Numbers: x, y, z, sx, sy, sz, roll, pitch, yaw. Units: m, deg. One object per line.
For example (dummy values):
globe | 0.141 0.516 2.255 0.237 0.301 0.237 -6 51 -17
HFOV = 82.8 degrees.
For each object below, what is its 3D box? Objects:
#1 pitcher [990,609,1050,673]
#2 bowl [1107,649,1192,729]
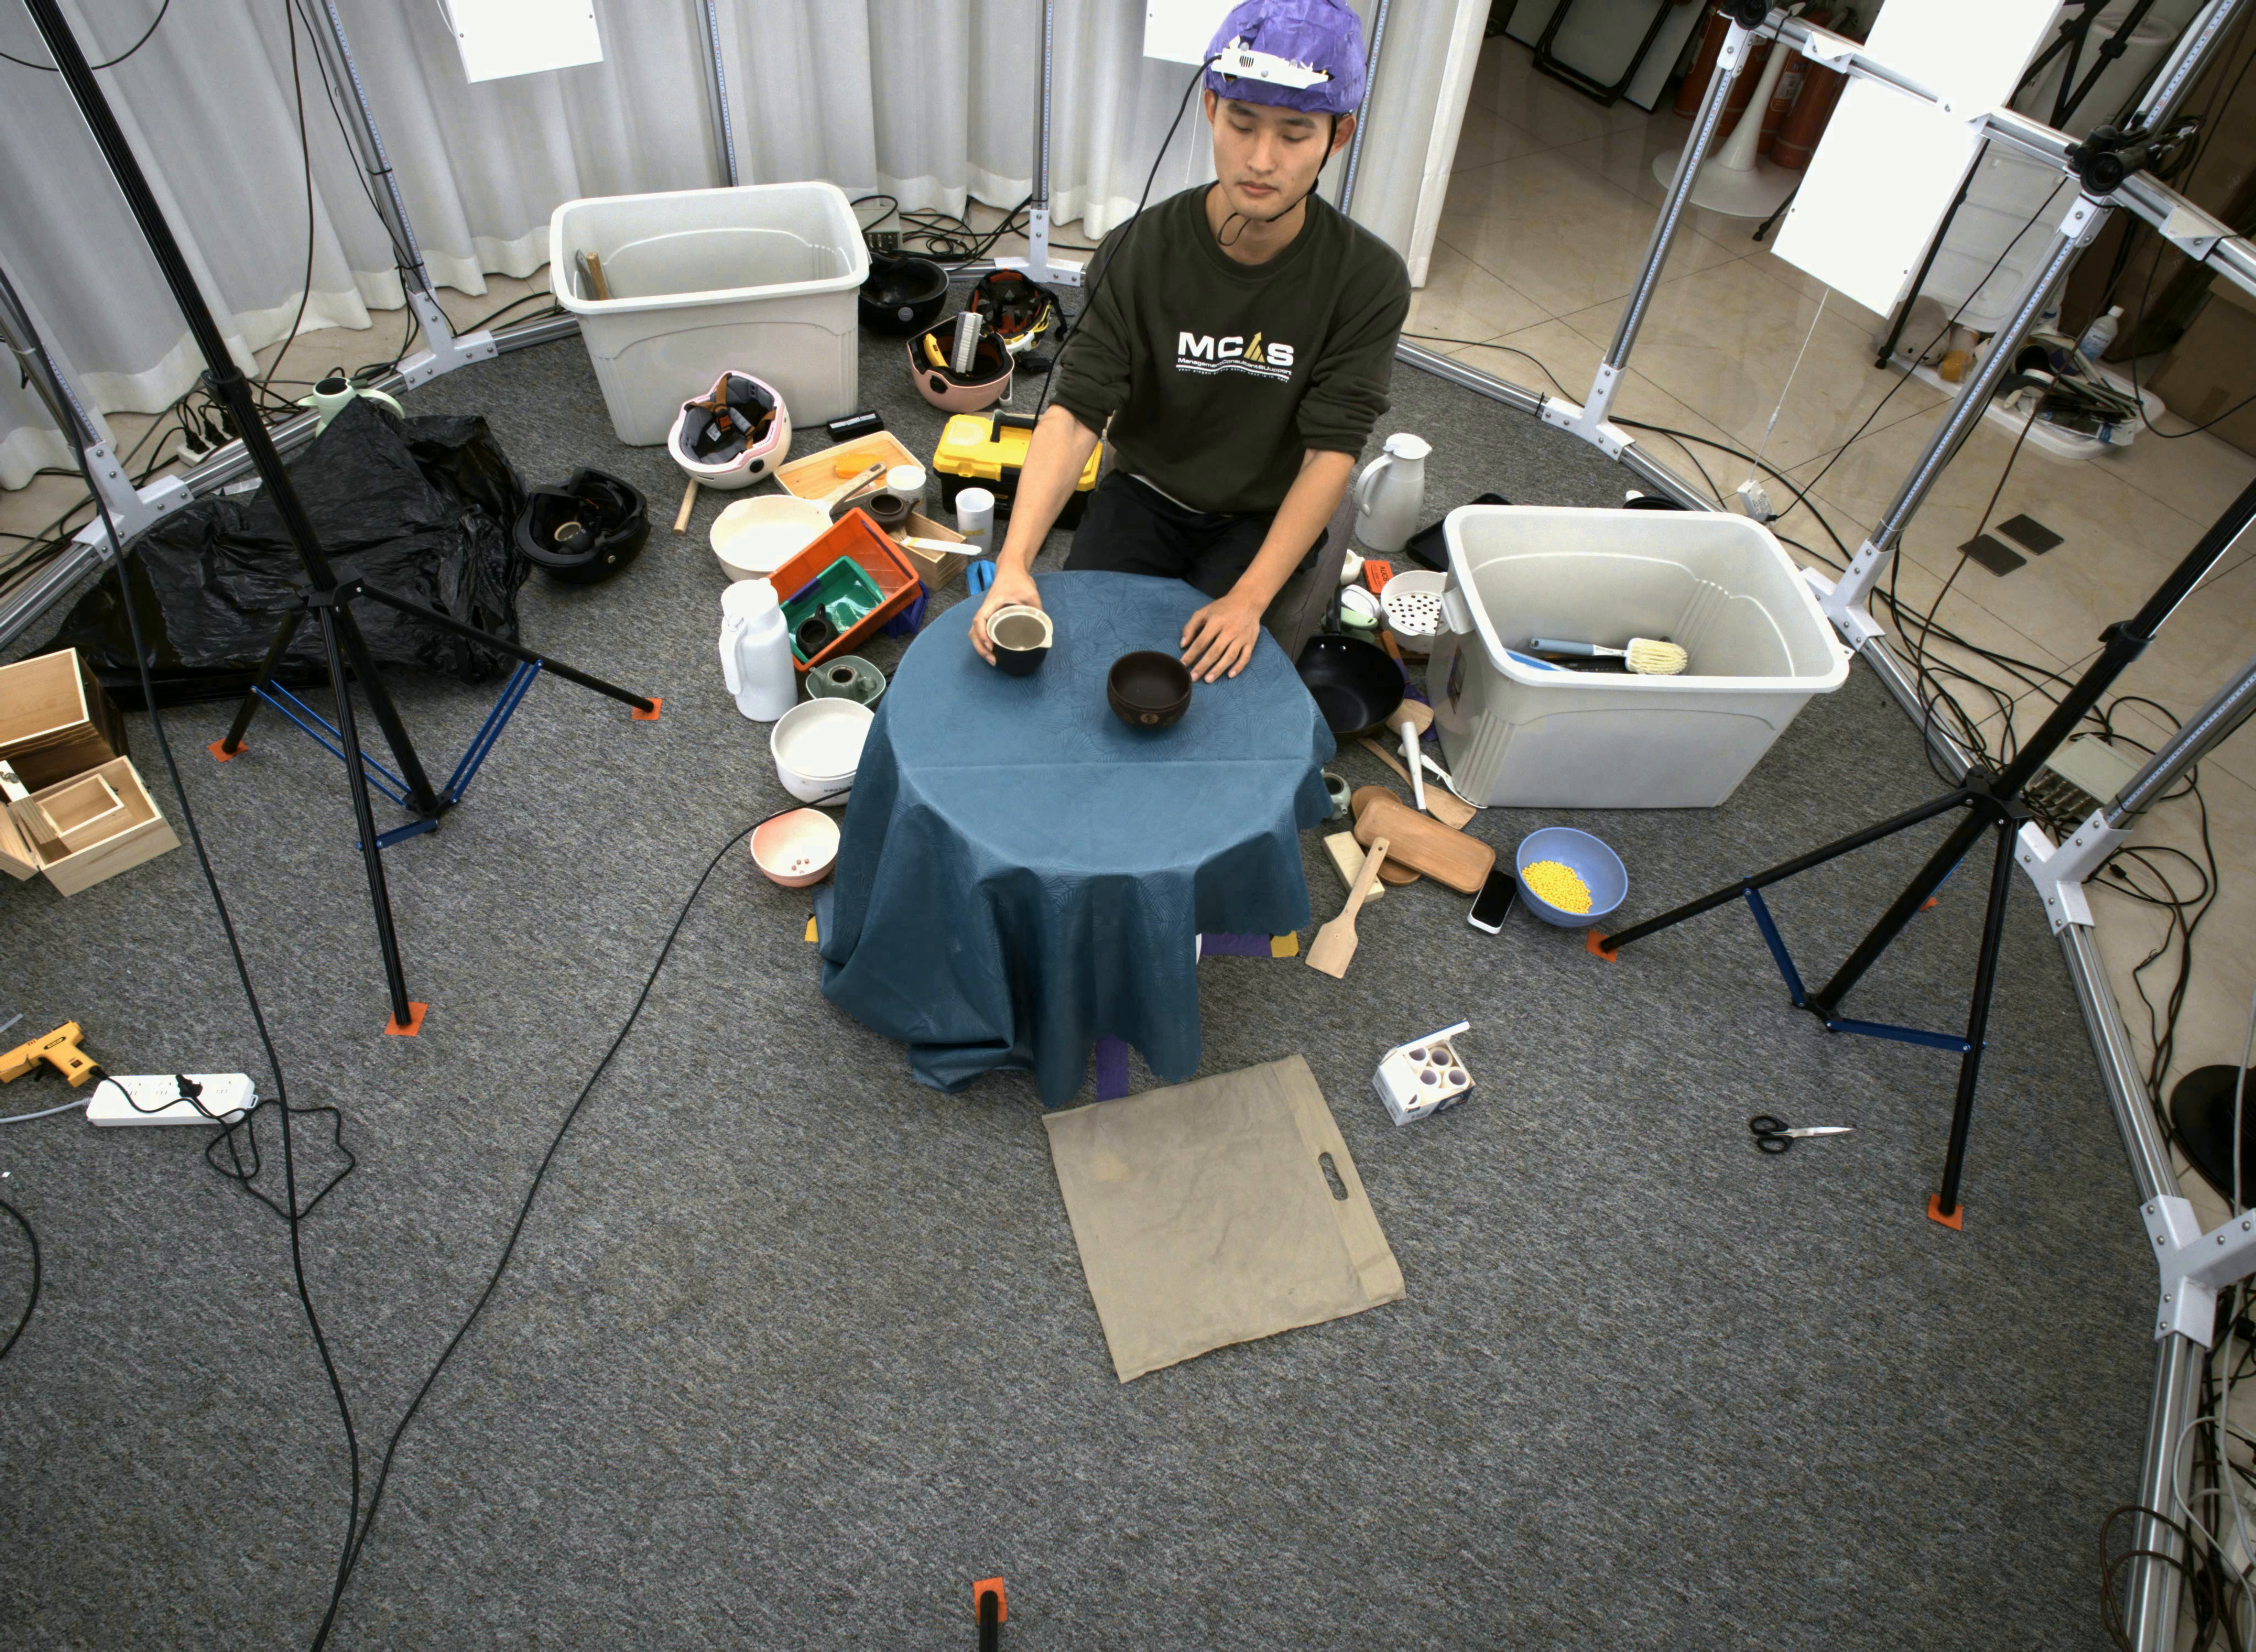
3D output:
pitcher | -0.150 -0.259 1.829 0.097 0.069 0.084 36 55 24
bowl | 0.029 -0.182 1.779 0.118 0.068 0.121 1 50 -1
